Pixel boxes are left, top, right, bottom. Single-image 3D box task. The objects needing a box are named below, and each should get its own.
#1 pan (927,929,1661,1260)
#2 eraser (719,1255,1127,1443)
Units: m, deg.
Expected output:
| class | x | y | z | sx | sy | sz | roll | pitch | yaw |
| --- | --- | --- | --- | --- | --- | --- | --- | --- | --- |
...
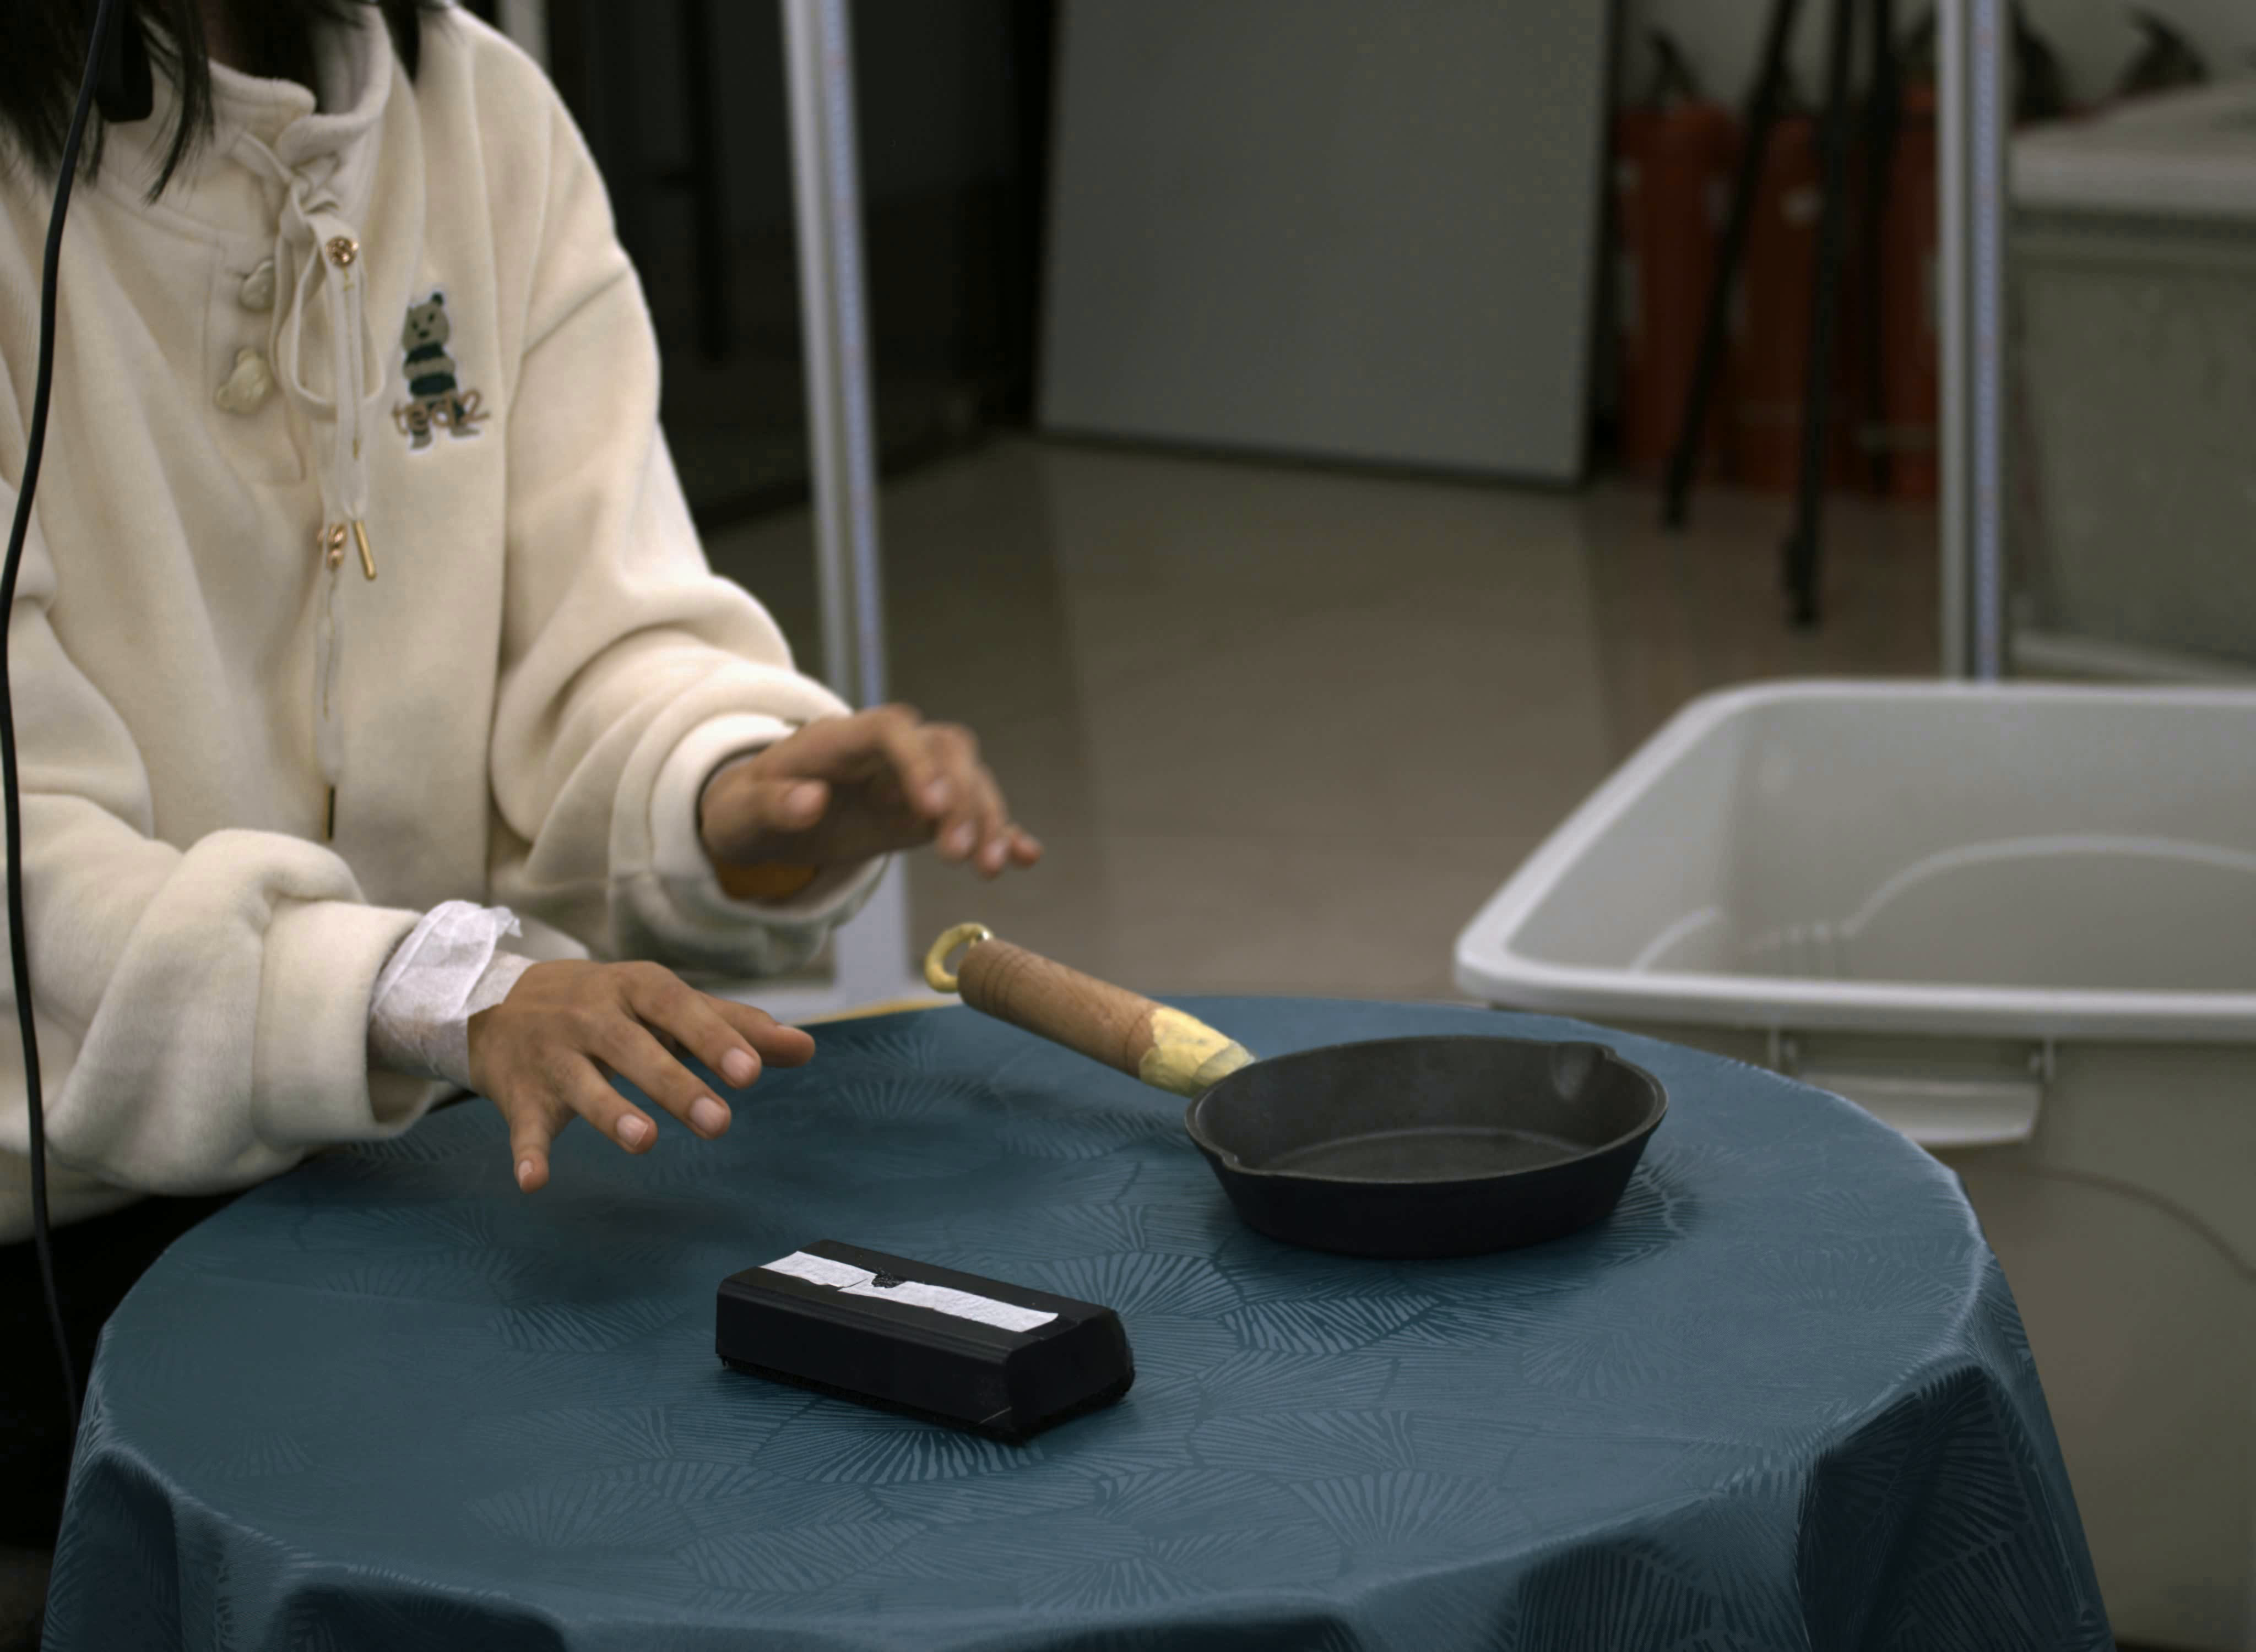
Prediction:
| class | x | y | z | sx | sy | sz | roll | pitch | yaw |
| --- | --- | --- | --- | --- | --- | --- | --- | --- | --- |
| pan | 0.041 | 0.084 | 1.800 | 0.165 | 0.050 | 0.327 | -16 | 19 | -37 |
| eraser | -0.060 | 0.154 | 1.600 | 0.126 | 0.031 | 0.052 | 7 | 17 | 44 |
